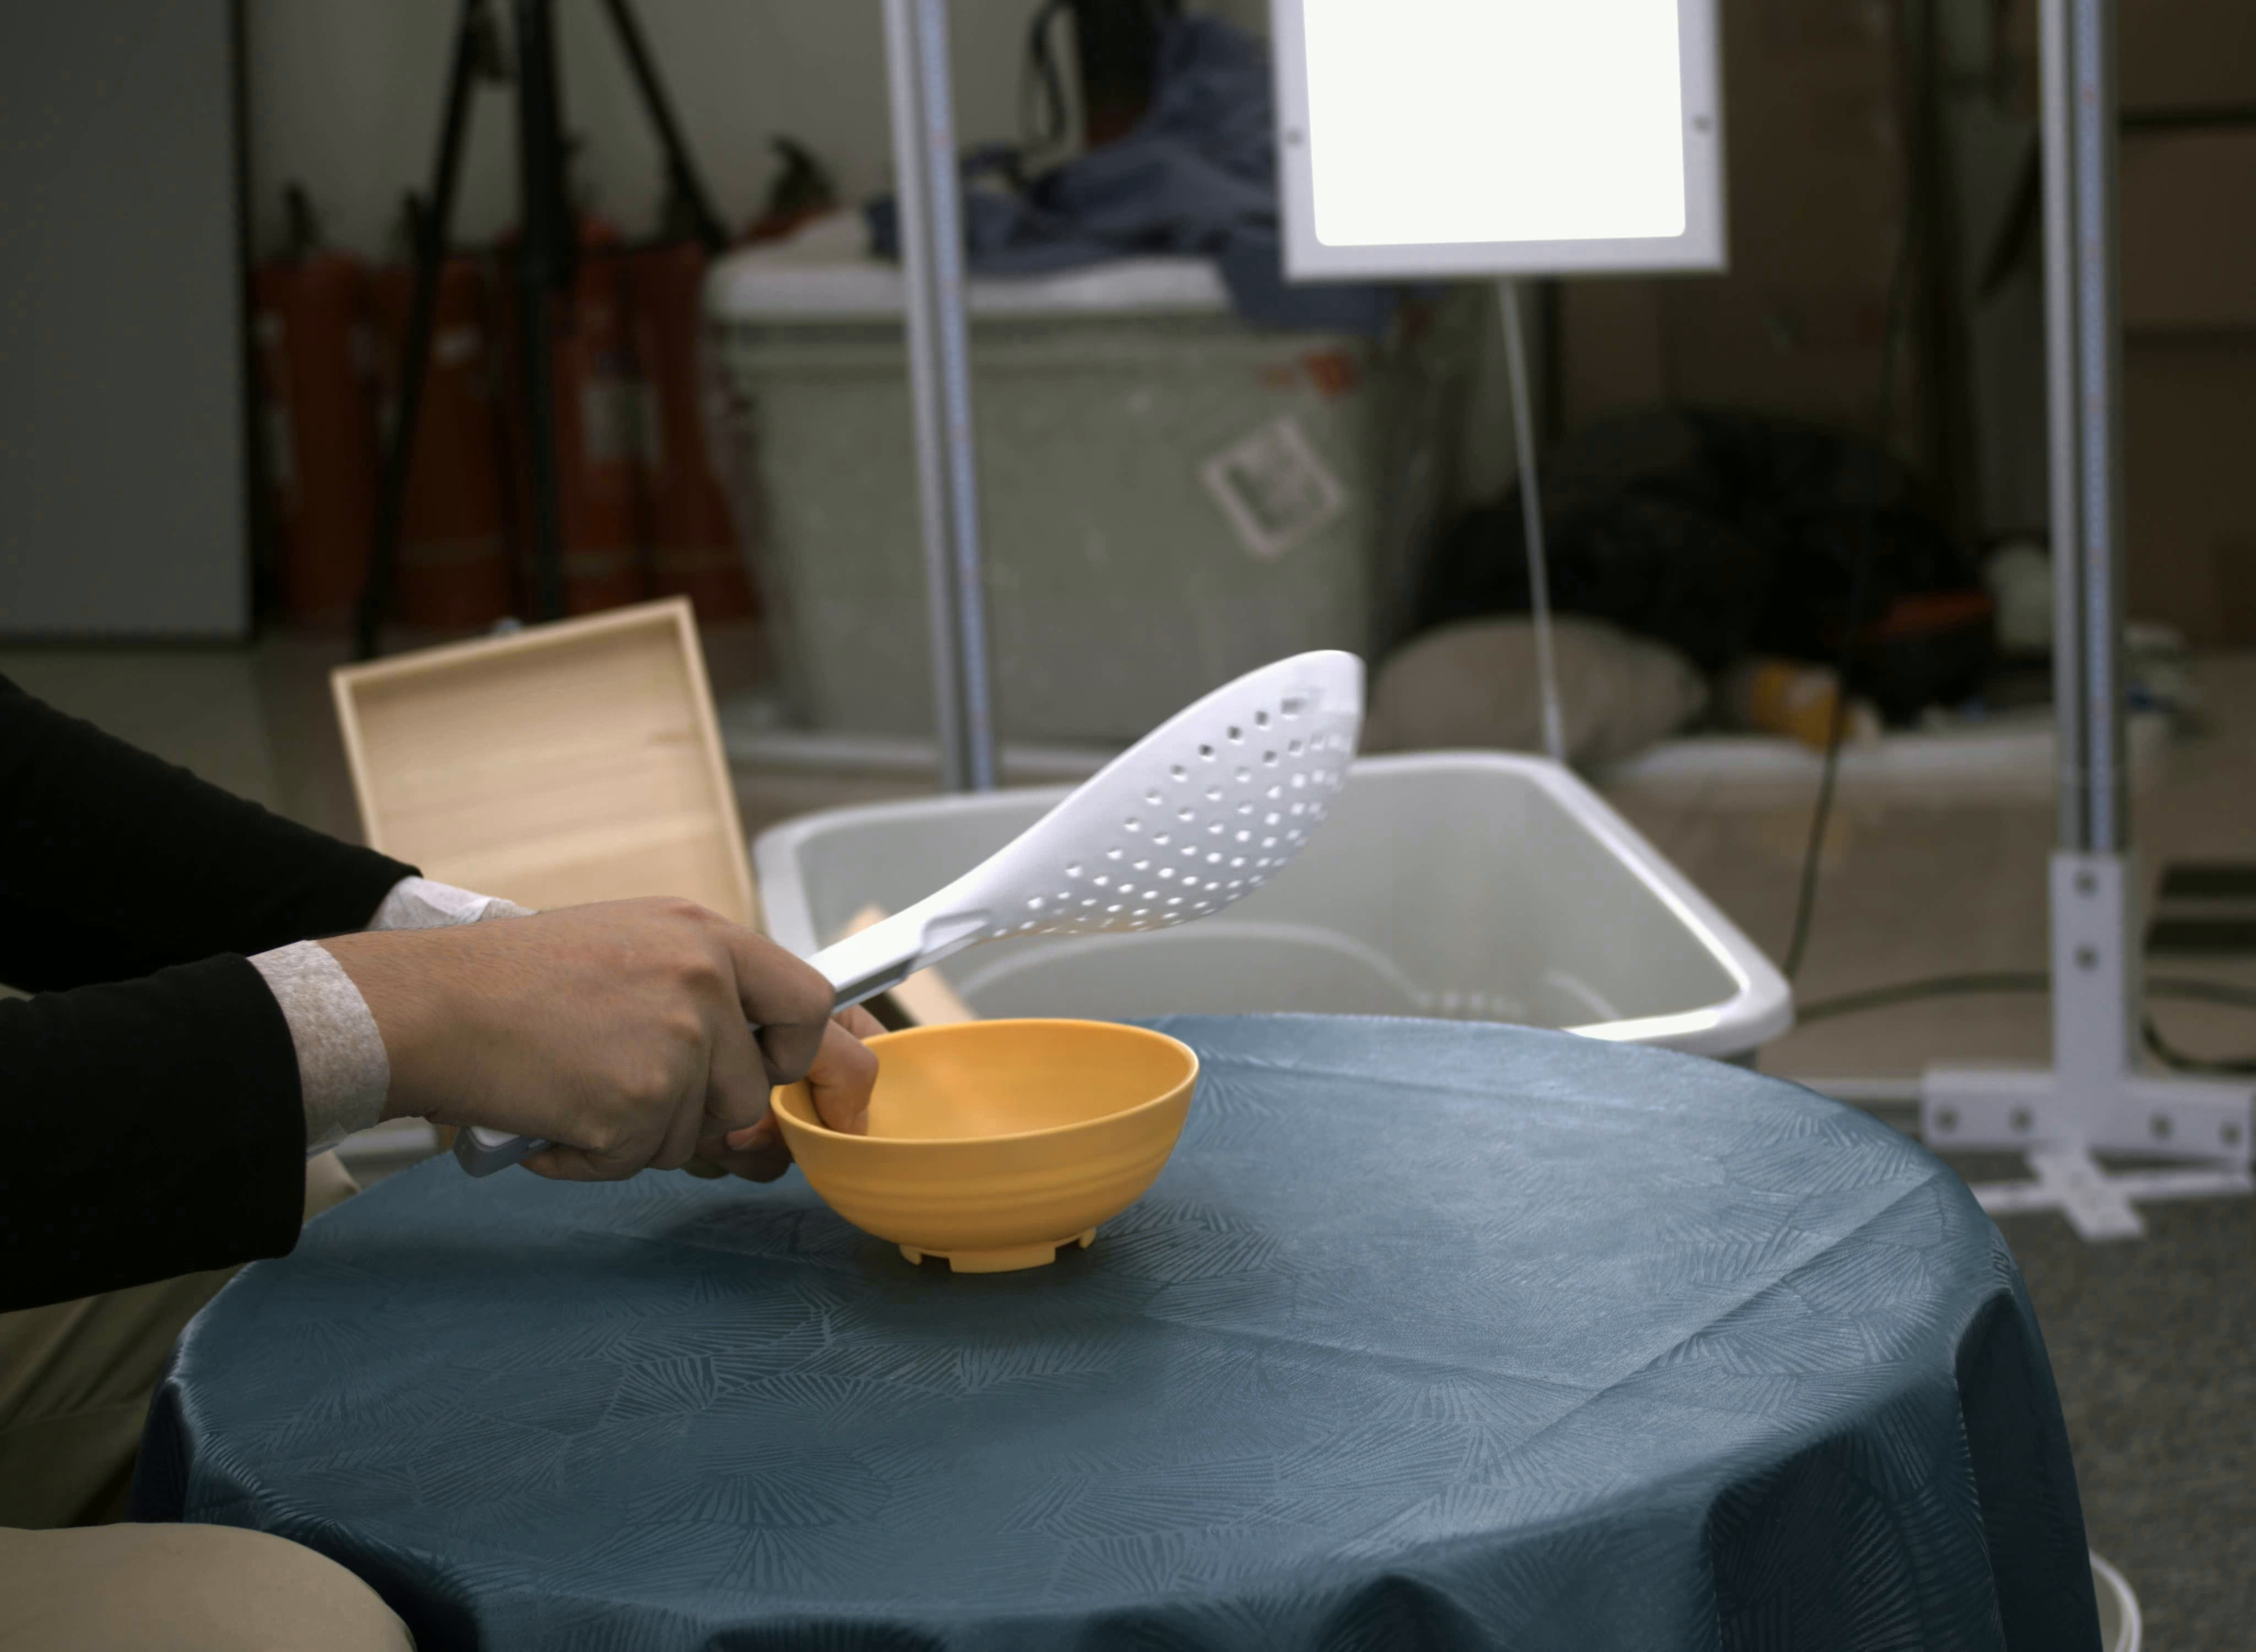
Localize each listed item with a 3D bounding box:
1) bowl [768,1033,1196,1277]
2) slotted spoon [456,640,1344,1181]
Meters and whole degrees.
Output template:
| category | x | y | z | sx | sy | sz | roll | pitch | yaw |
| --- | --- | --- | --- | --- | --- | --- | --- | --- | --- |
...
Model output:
| category | x | y | z | sx | sy | sz | roll | pitch | yaw |
| --- | --- | --- | --- | --- | --- | --- | --- | --- | --- |
| bowl | -0.048 | 0.114 | 1.849 | 0.145 | 0.060 | 0.145 | -4 | 12 | -1 |
| slotted spoon | -0.064 | 0.032 | 1.739 | 0.342 | 0.046 | 0.138 | -21 | -24 | -27 |
